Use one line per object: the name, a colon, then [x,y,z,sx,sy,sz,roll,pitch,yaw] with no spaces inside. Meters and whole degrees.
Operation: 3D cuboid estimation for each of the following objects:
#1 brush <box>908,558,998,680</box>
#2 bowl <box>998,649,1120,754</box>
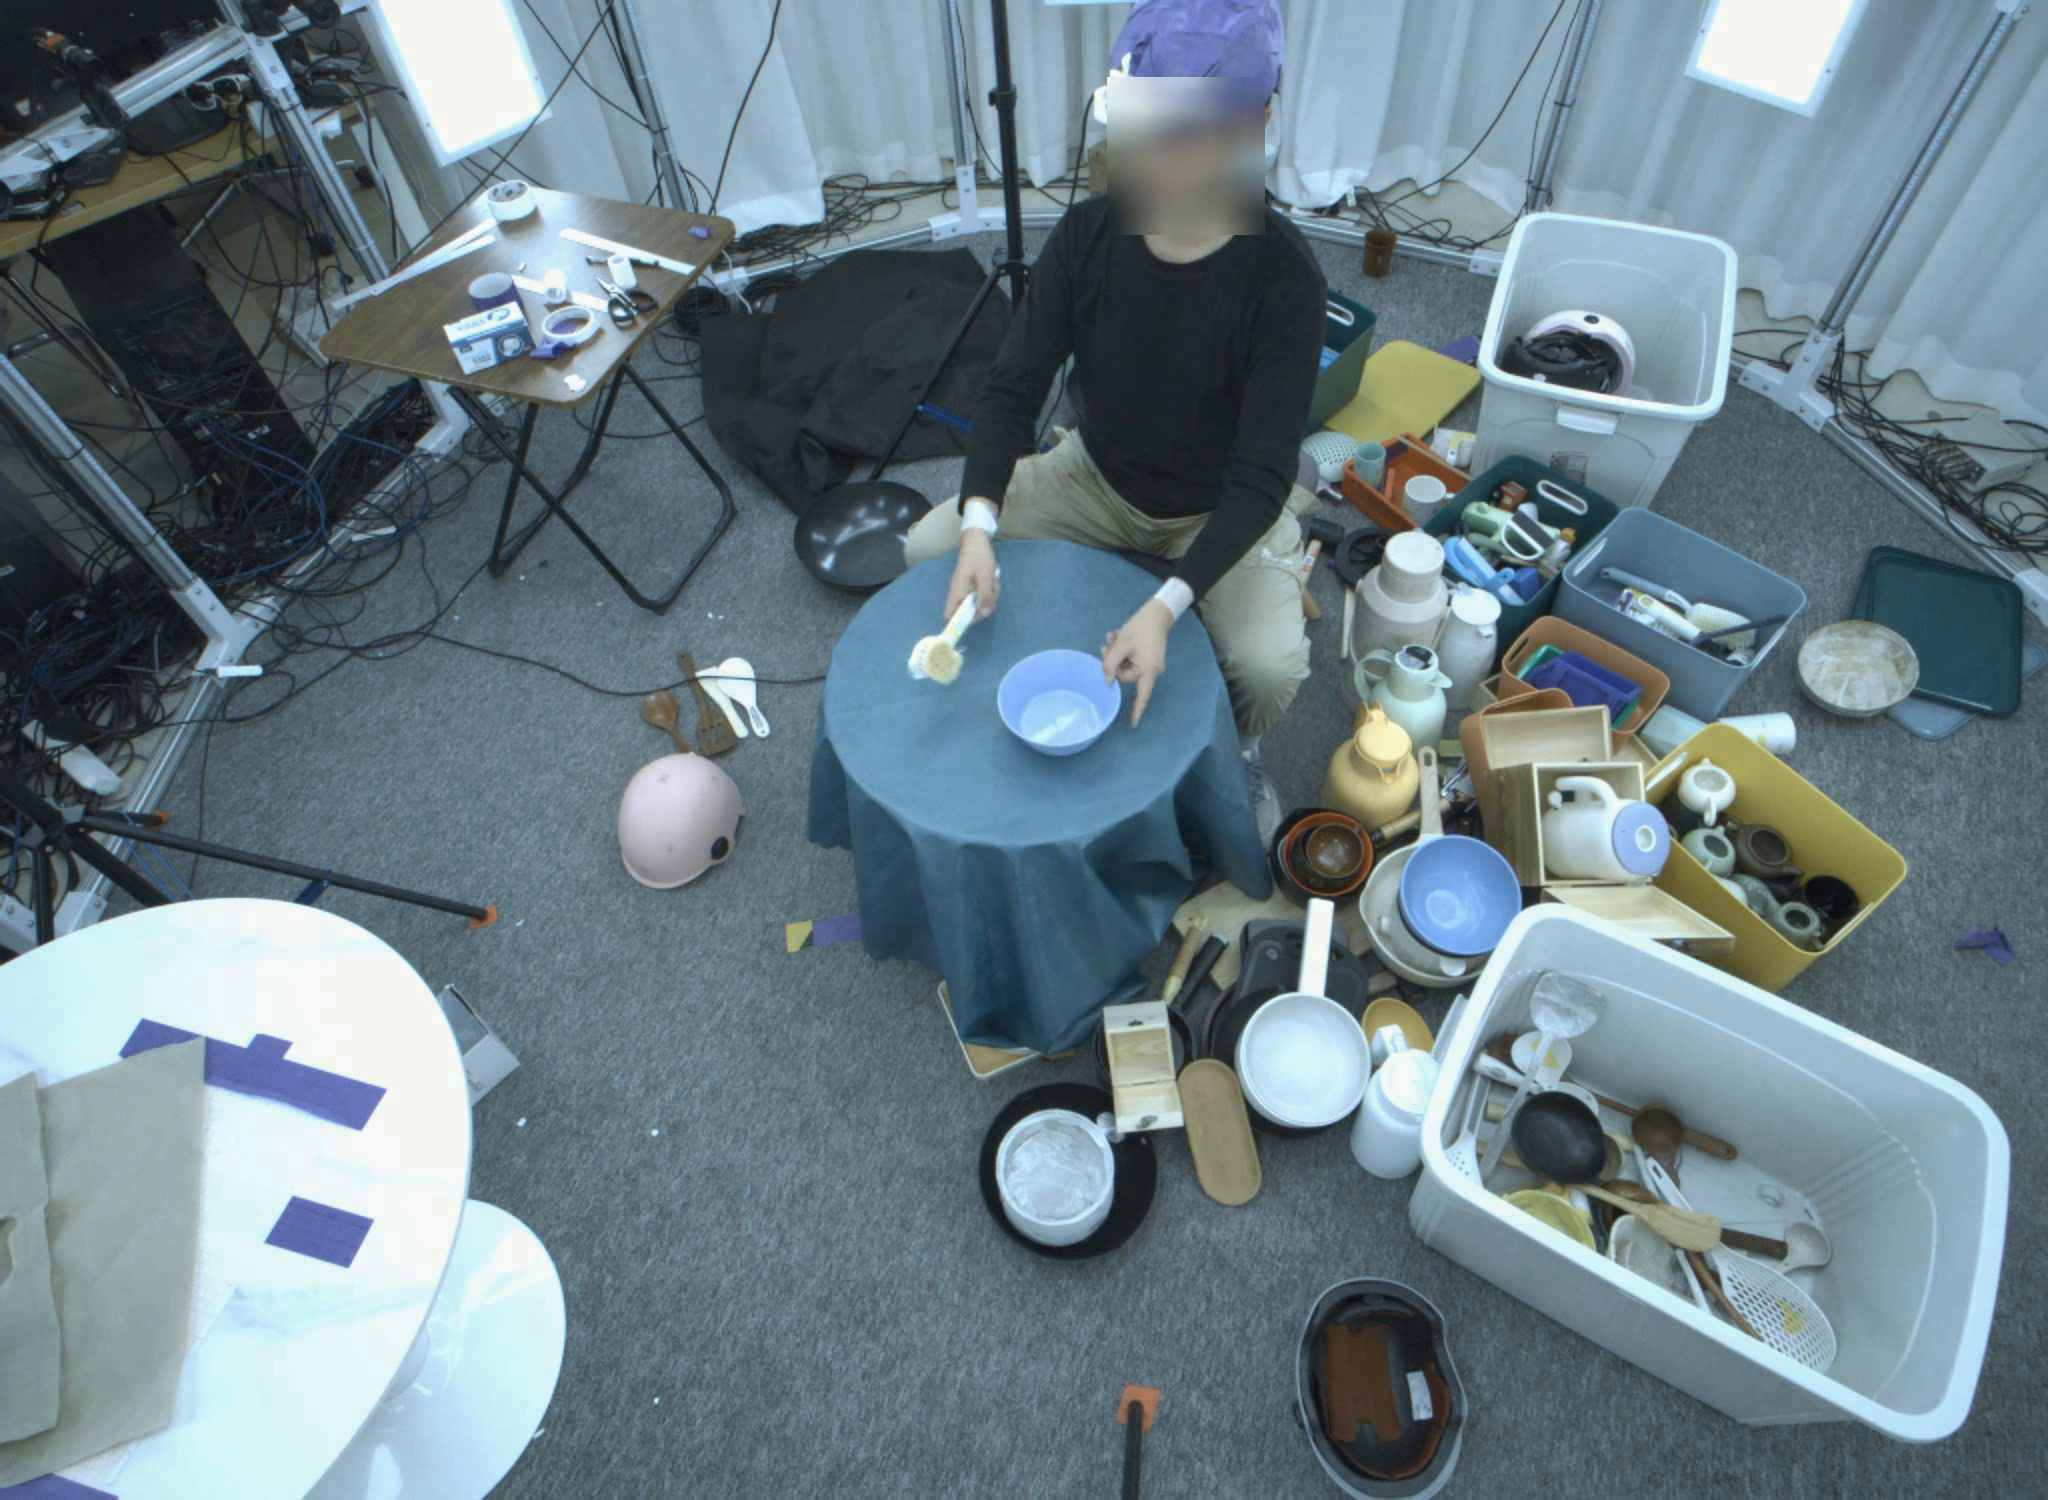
brush: [-0.085,-0.203,1.819,0.055,0.069,0.267,8,46,30]
bowl: [0.051,-0.059,1.784,0.176,0.071,0.174,0,55,1]
